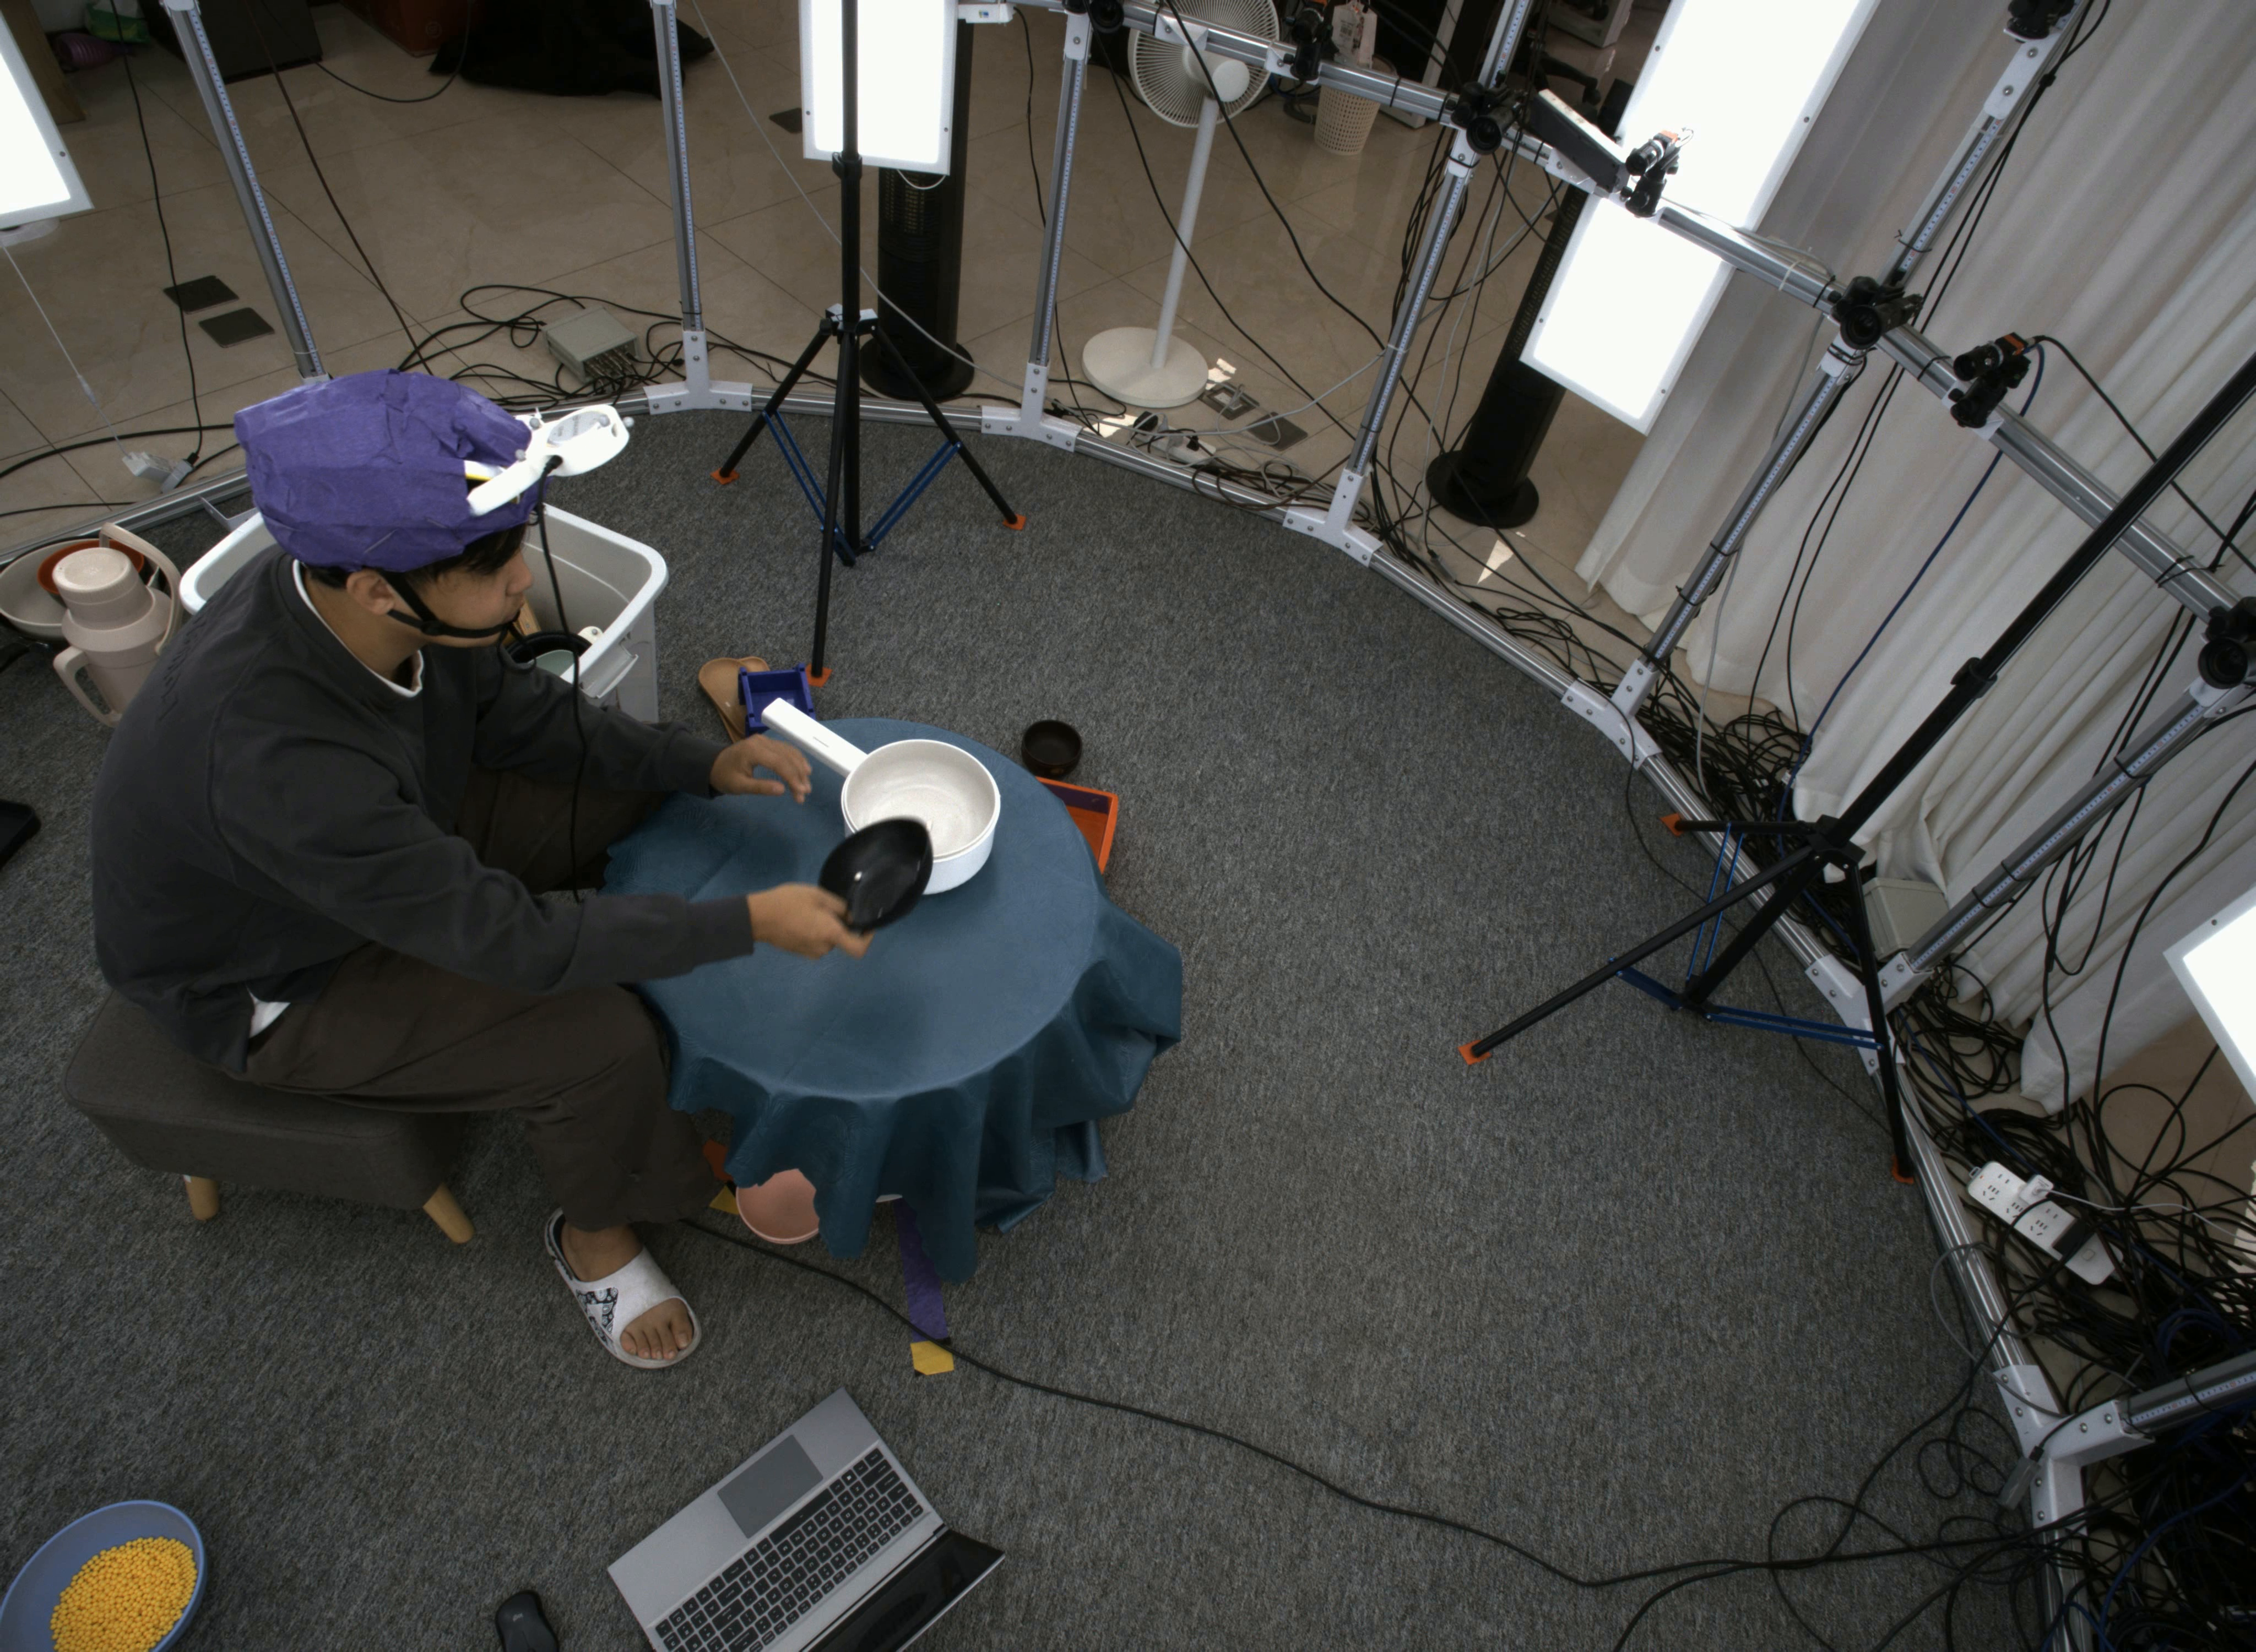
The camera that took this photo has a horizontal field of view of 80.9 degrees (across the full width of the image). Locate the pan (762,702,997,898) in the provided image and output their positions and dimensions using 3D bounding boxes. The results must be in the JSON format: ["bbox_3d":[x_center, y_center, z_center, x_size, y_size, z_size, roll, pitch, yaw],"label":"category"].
[{"bbox_3d":[-0.335,-0.042,1.720,0.348,0.104,0.201,30,56,12],"label":"pan"}]

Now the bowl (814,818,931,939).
[{"bbox_3d":[-0.281,0.068,1.479,0.134,0.069,0.167,-9,43,14],"label":"bowl"}]
